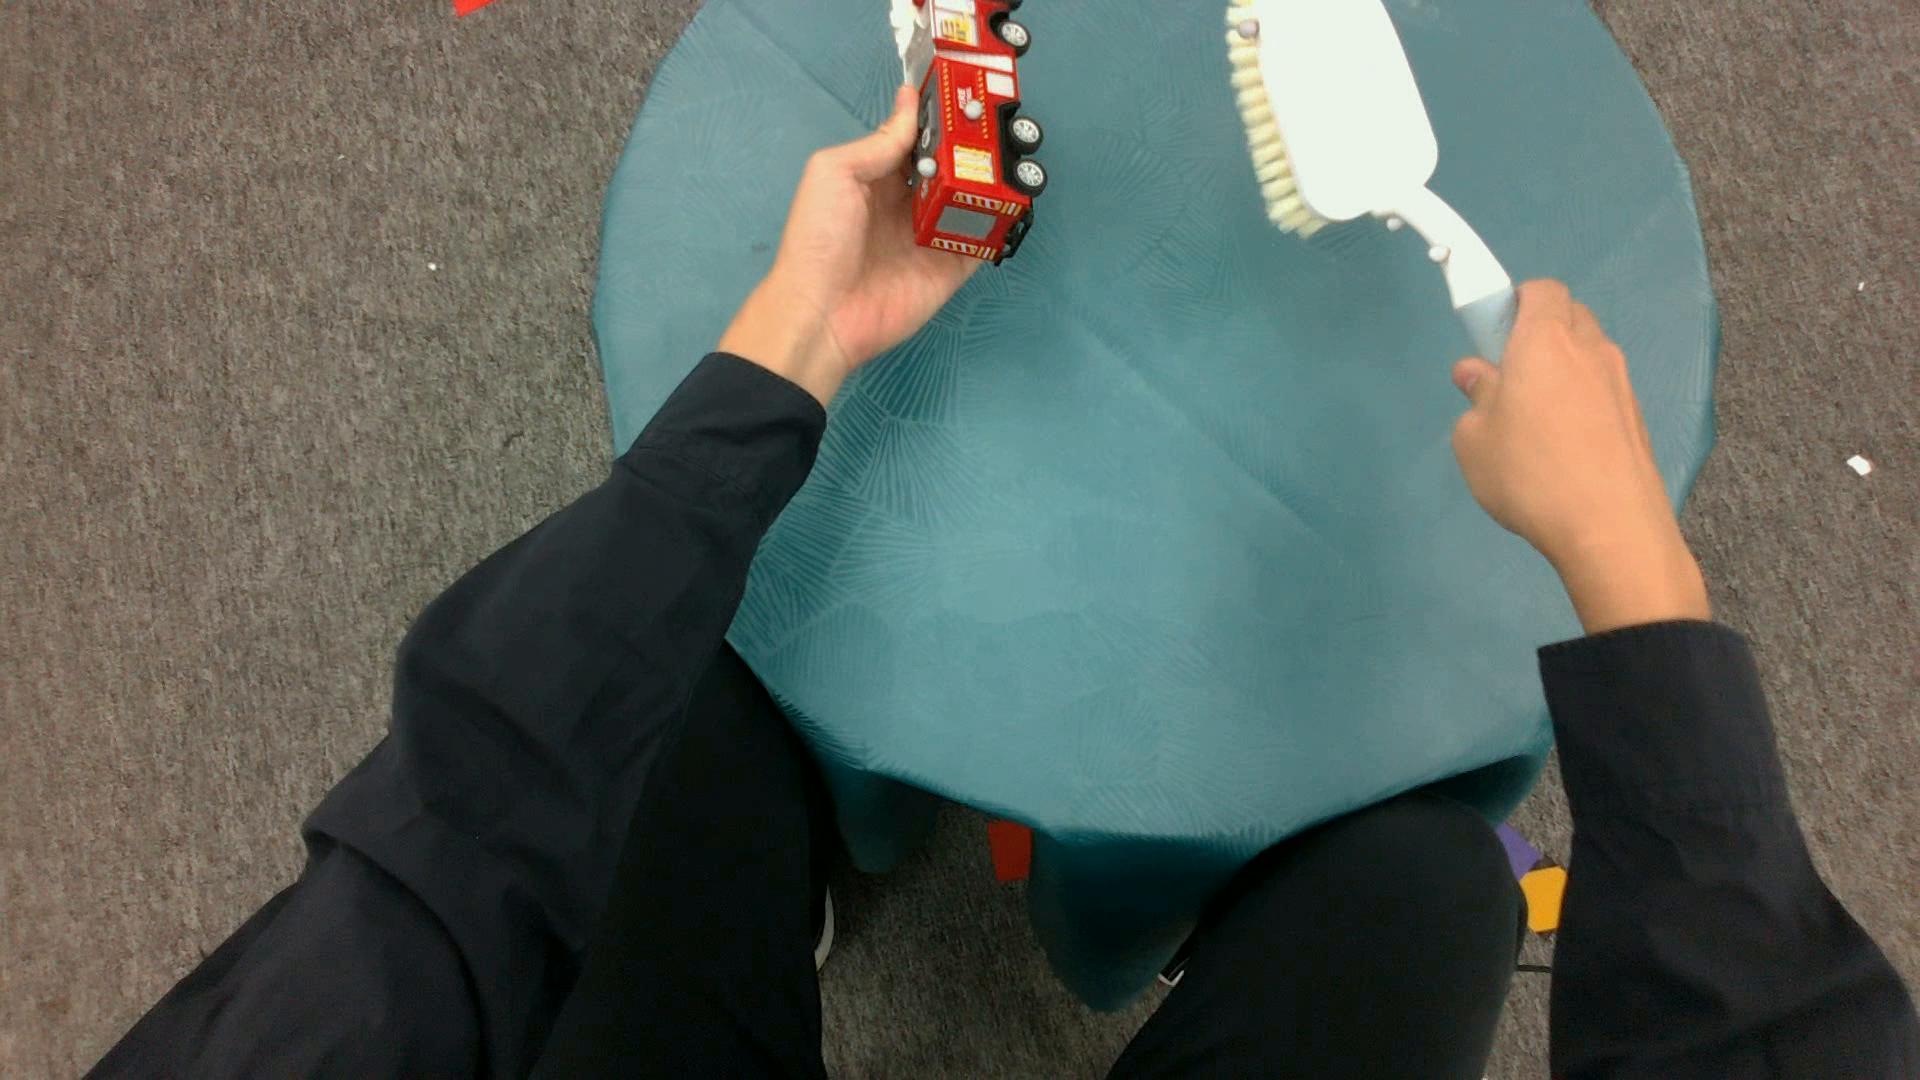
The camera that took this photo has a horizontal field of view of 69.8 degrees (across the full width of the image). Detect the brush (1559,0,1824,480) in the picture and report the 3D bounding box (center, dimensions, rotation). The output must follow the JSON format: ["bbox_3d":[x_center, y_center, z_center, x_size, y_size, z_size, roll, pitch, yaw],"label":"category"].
[{"bbox_3d":[0.296,-0.184,0.570,0.083,0.085,0.325,-6,103,31],"label":"brush"}]
